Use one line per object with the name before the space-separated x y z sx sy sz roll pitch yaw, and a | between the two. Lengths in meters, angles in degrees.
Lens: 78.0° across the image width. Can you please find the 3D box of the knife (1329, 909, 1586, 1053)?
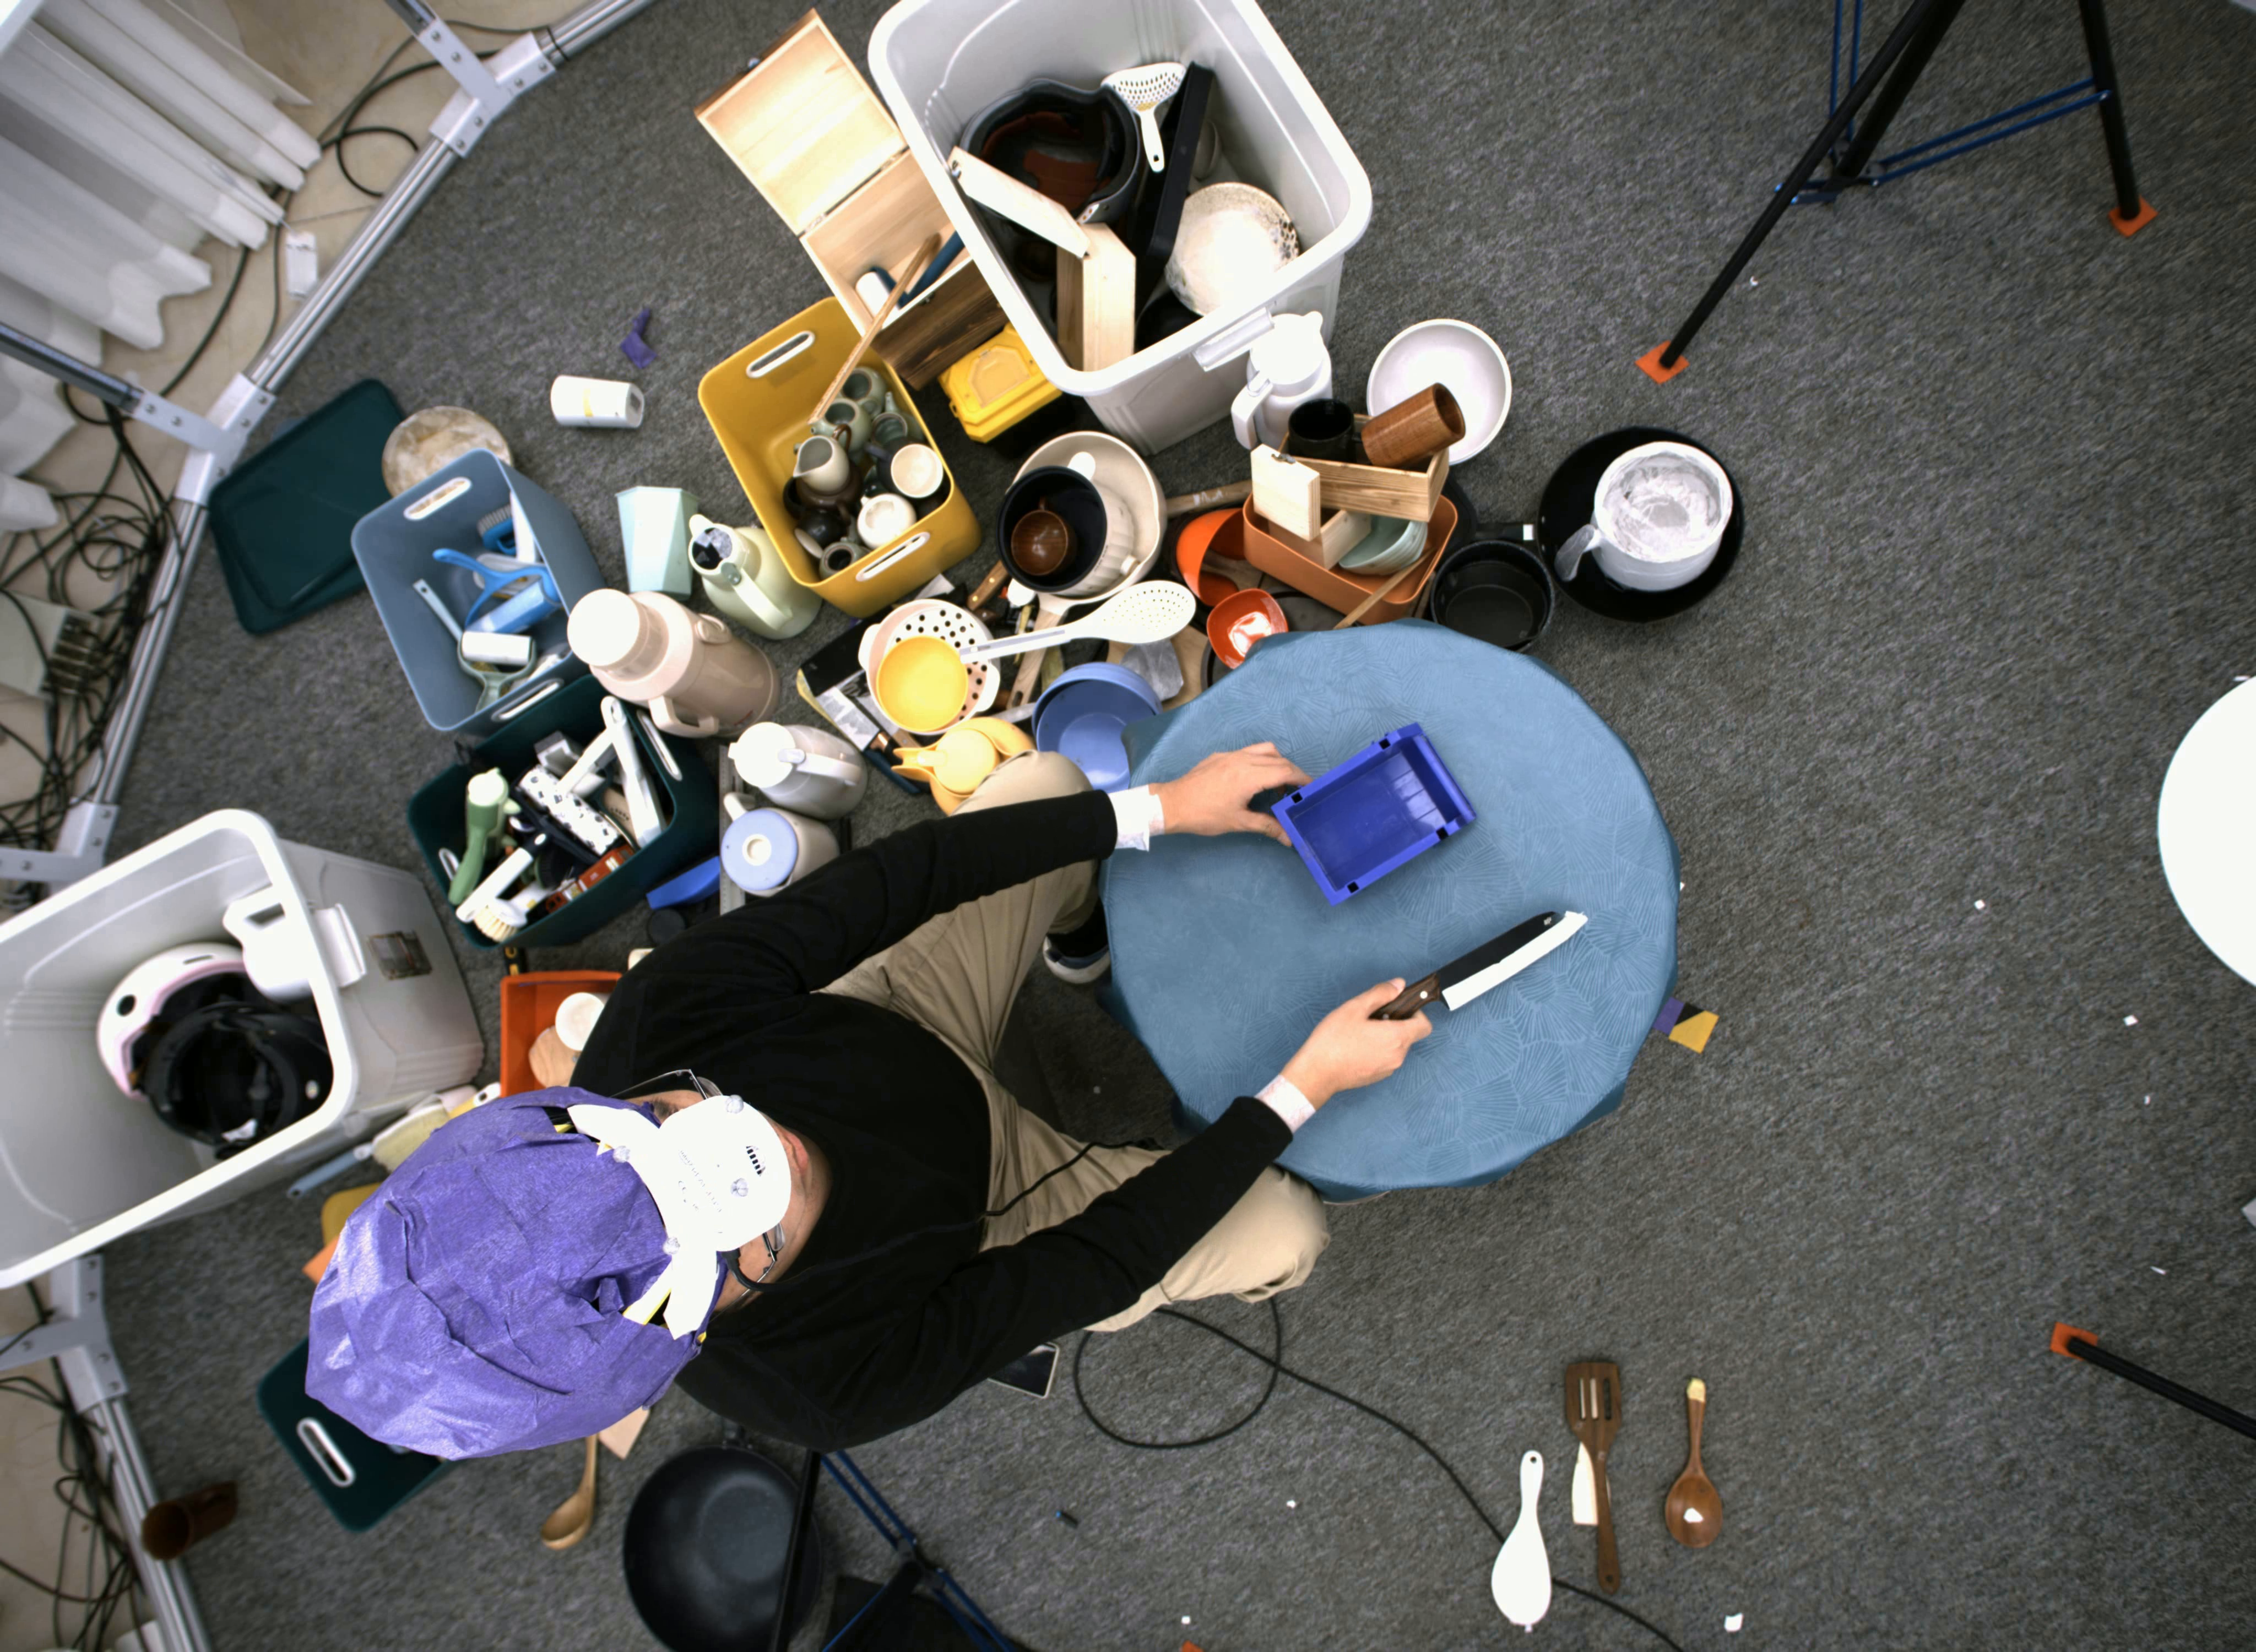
knife | 0.335 0.154 1.396 0.290 0.020 0.050 -27 100 3

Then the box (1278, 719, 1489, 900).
box | 0.264 -0.021 1.425 0.181 0.082 0.123 -31 81 10
